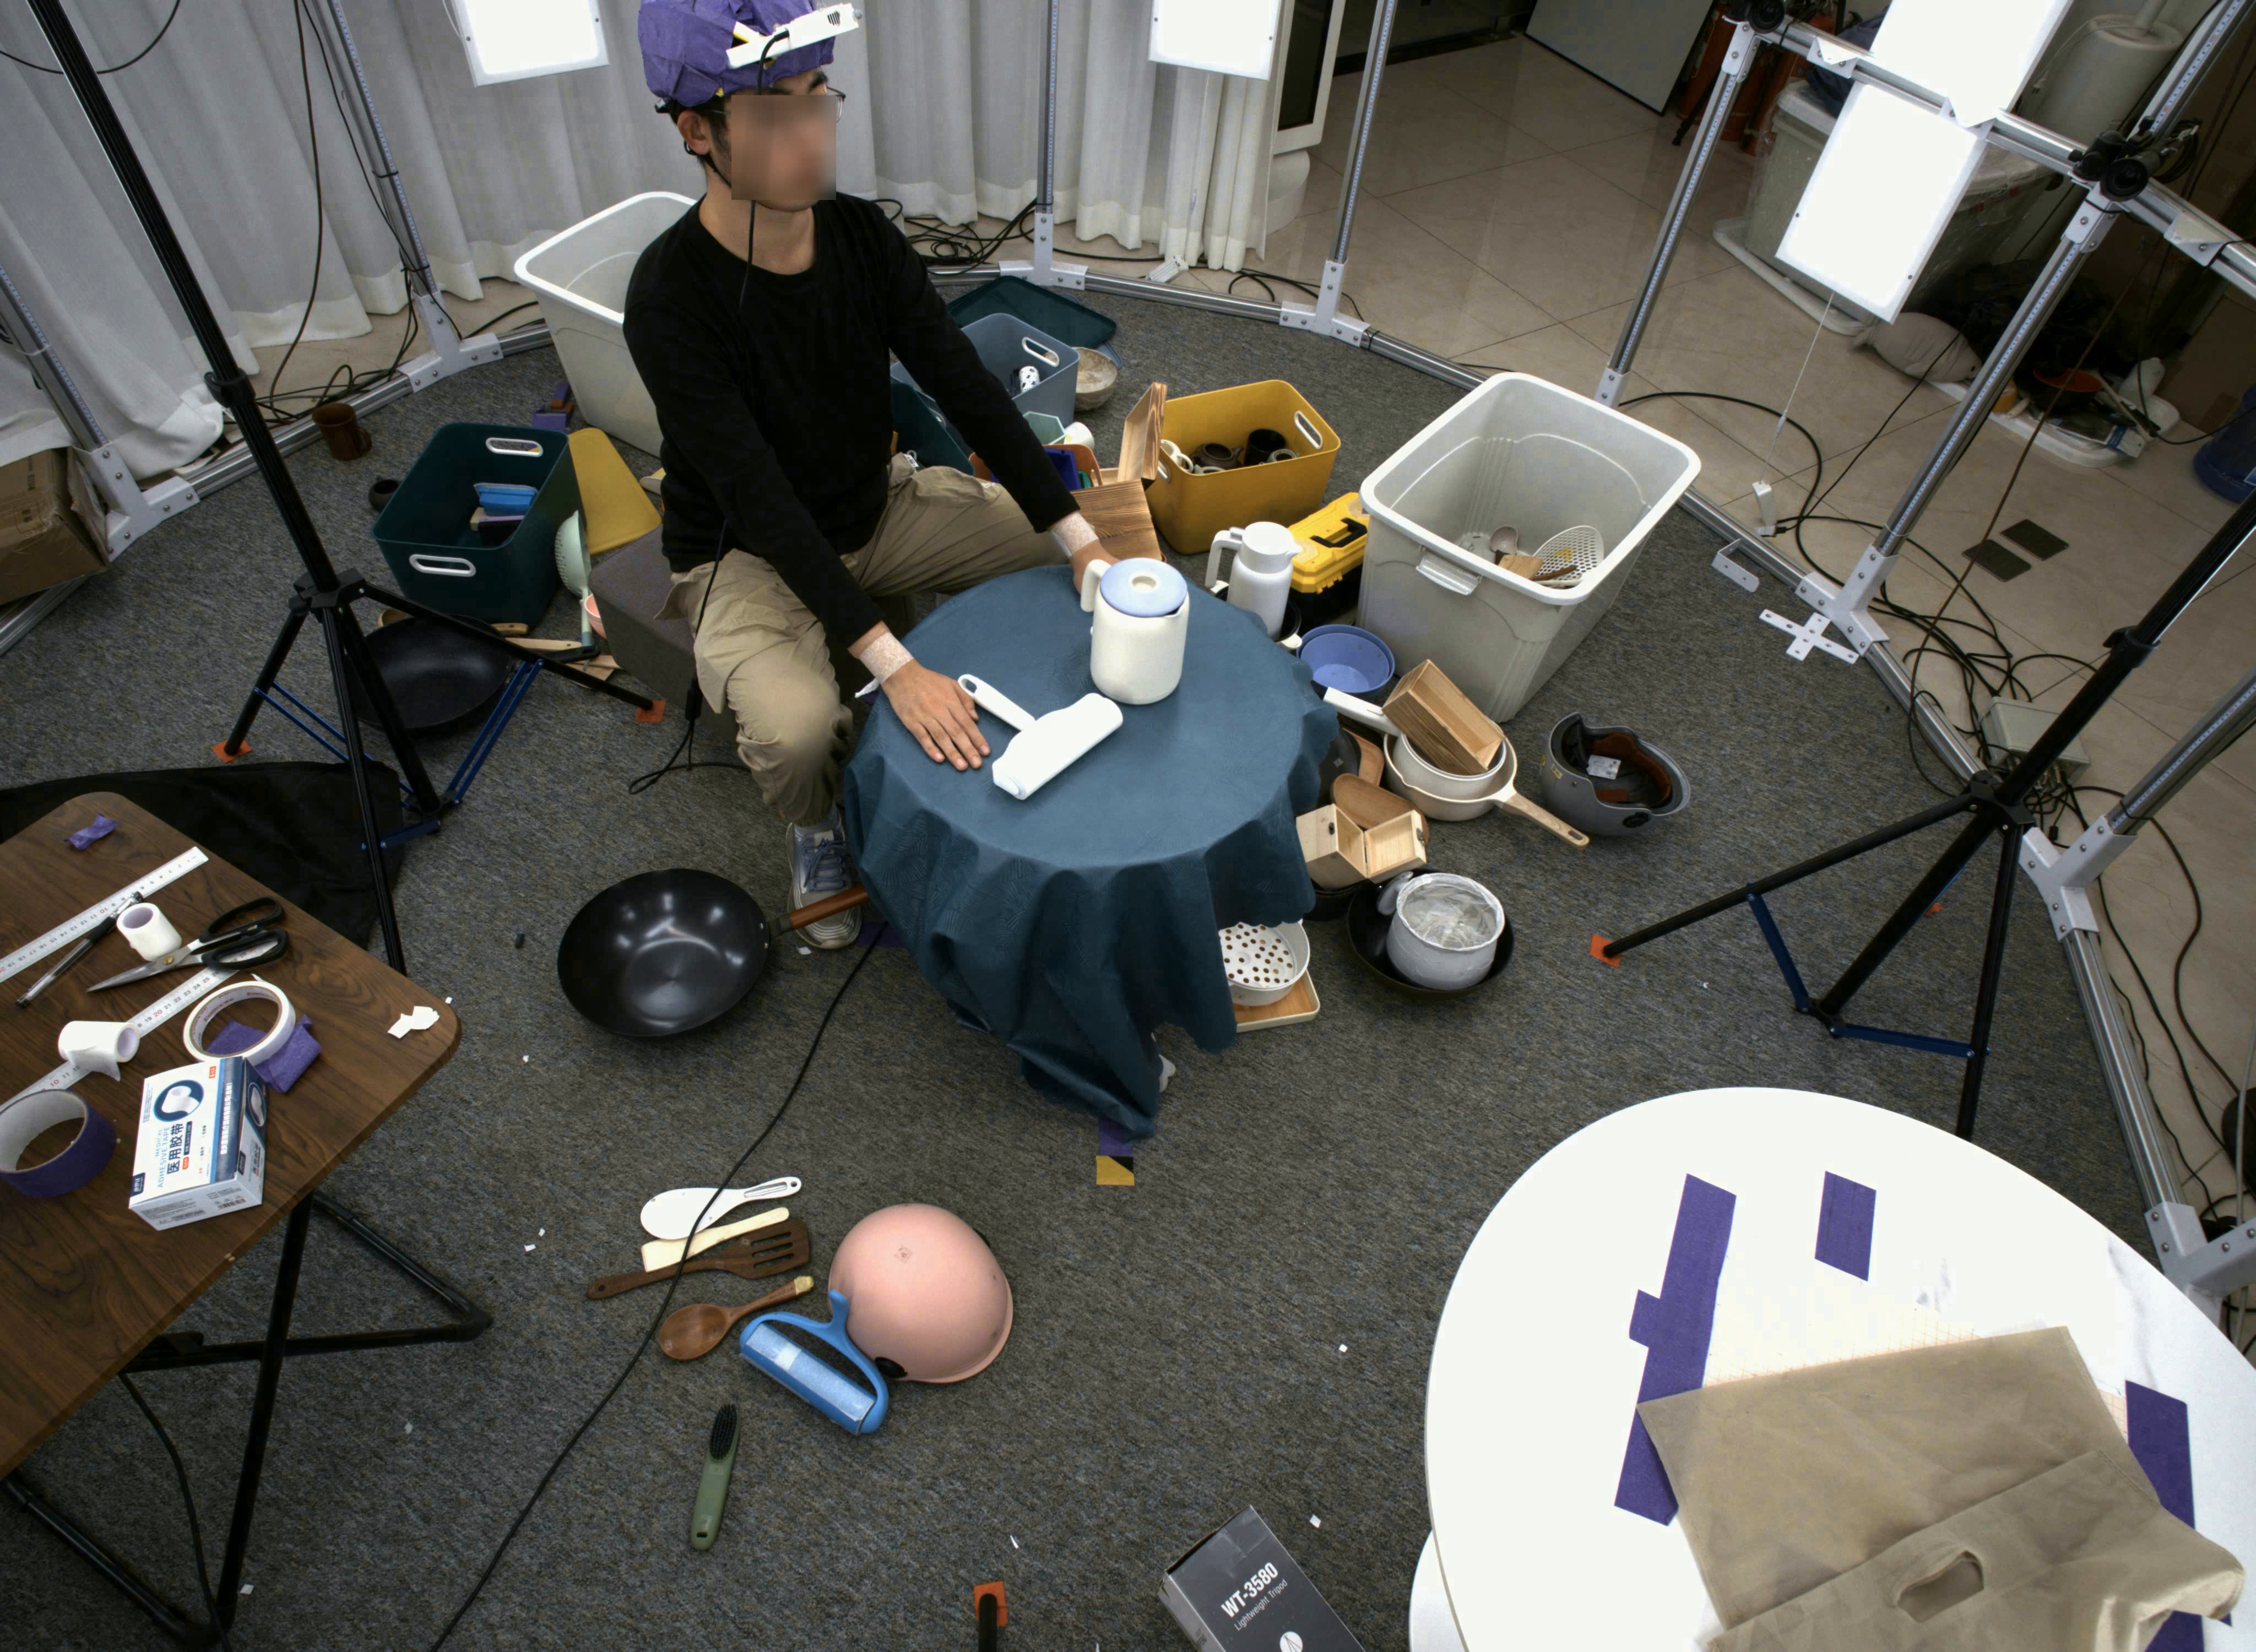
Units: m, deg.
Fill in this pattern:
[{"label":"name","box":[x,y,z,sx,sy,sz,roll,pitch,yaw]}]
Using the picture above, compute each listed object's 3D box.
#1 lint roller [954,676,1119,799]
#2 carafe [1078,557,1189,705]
[{"label":"lint roller","box":[-0.156,-0.153,1.765,0.228,0.047,0.205,34,57,25]},{"label":"carafe","box":[-0.001,-0.286,1.807,0.133,0.178,0.194,-33,57,-29]}]
